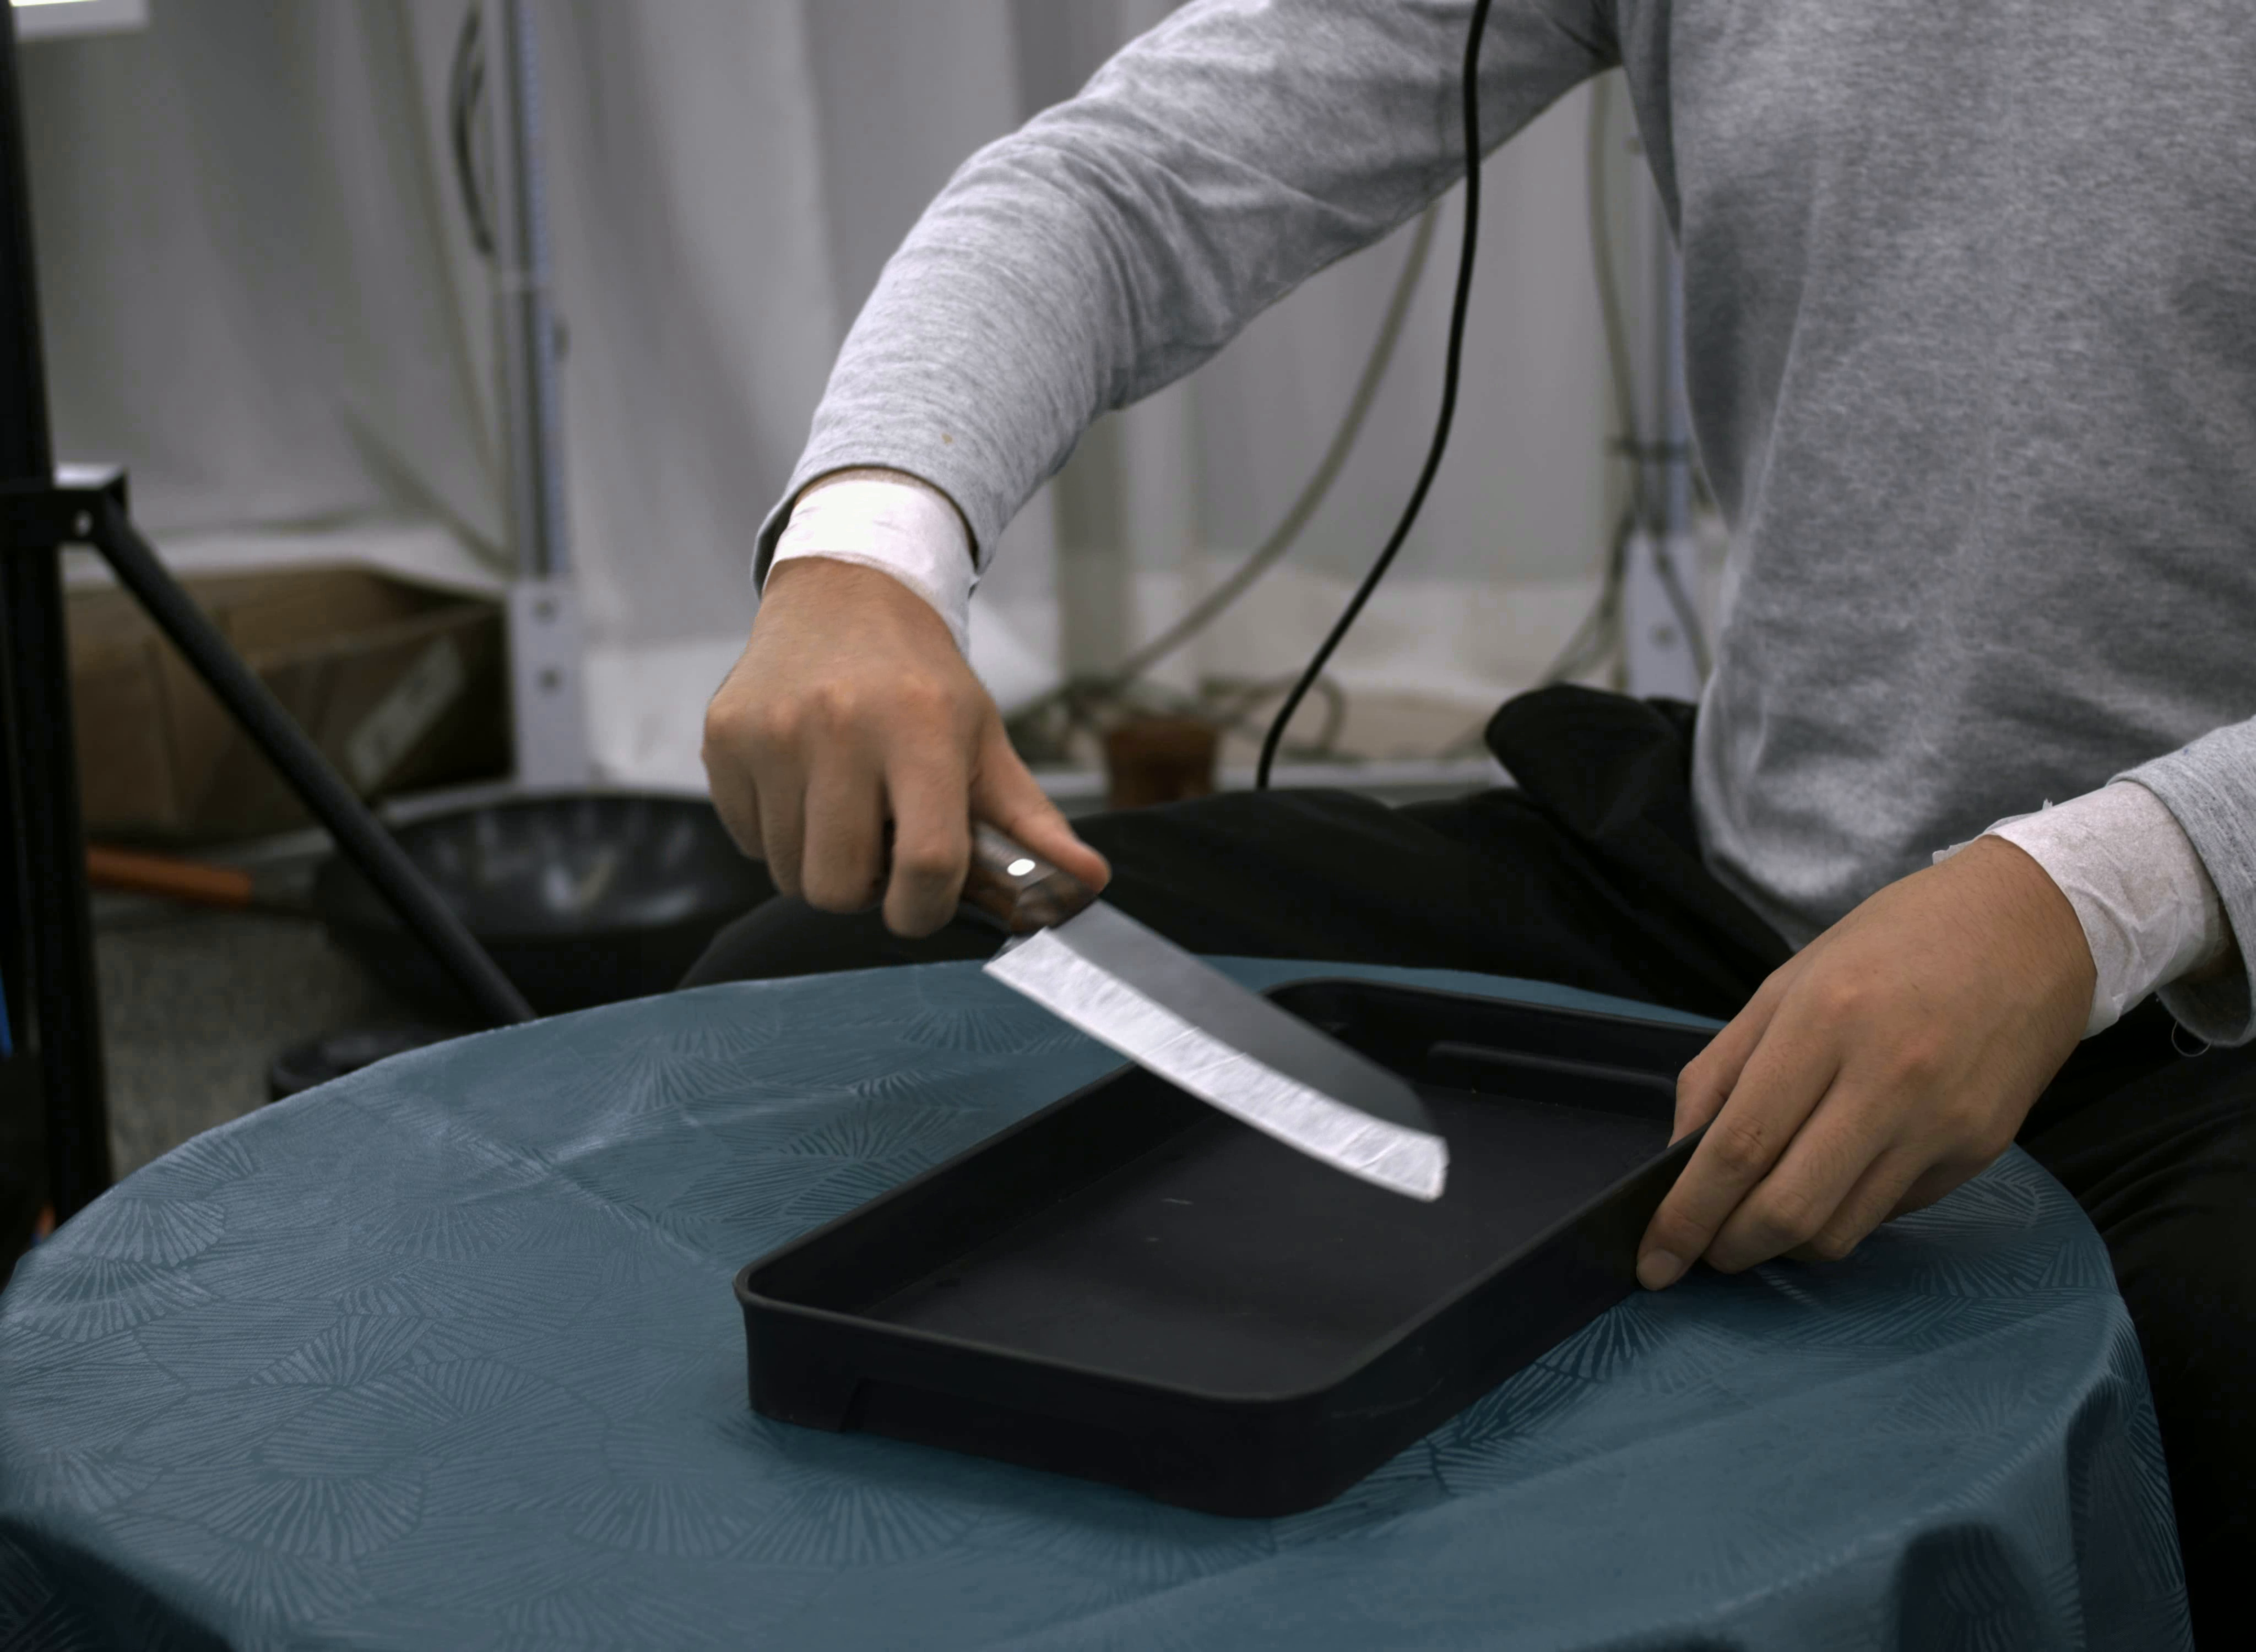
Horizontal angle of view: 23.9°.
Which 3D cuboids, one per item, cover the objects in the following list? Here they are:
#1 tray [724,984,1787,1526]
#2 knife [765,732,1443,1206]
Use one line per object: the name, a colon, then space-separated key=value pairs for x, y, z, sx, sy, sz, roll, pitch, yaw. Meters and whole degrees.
tray: x=0.044 y=0.112 z=1.477 sx=0.187 sy=0.037 sz=0.312 roll=7 pitch=18 yaw=30
knife: x=-0.011 y=0.040 z=1.522 sx=0.049 sy=0.020 sz=0.296 roll=-31 pitch=43 yaw=-28
